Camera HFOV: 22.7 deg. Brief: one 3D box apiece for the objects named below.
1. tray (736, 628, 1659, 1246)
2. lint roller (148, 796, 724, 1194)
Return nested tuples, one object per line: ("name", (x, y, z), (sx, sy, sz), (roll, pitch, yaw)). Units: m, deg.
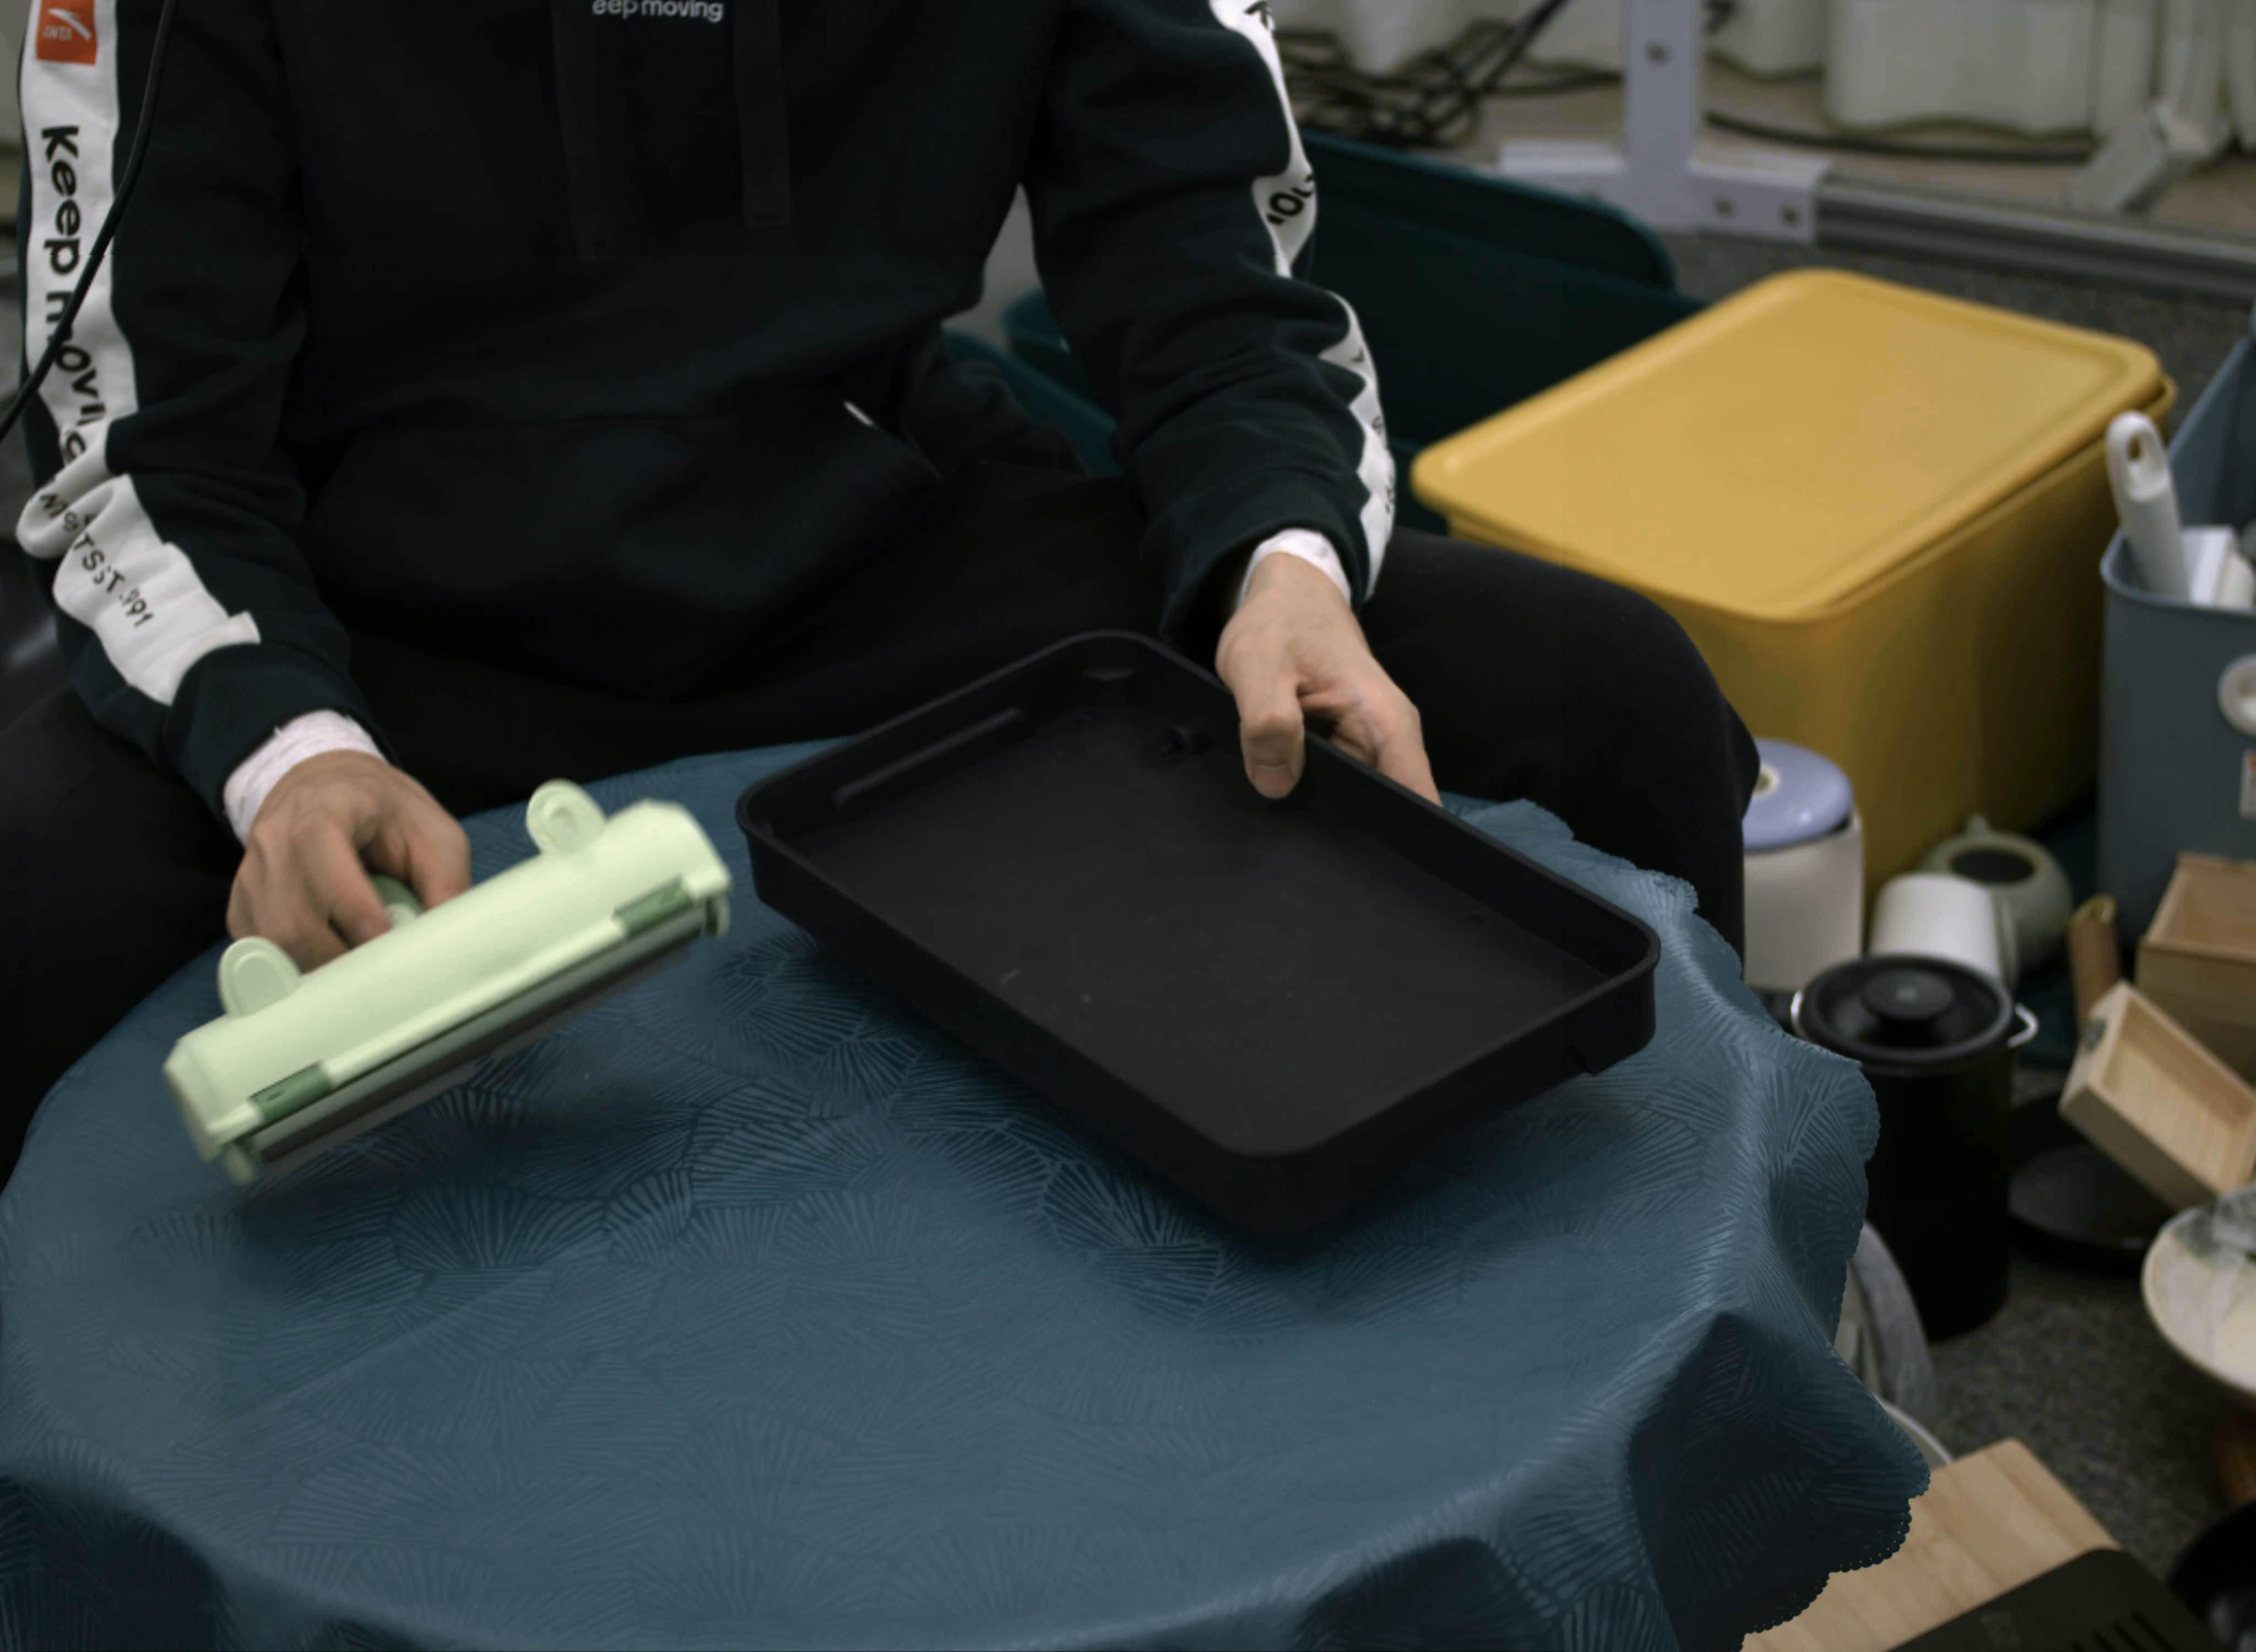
("tray", (0.020, 0.032, 1.939), (0.186, 0.036, 0.319), (-26, 37, -28))
("lint roller", (-0.257, 0.033, 1.922), (0.200, 0.081, 0.184), (-26, 32, -17))
